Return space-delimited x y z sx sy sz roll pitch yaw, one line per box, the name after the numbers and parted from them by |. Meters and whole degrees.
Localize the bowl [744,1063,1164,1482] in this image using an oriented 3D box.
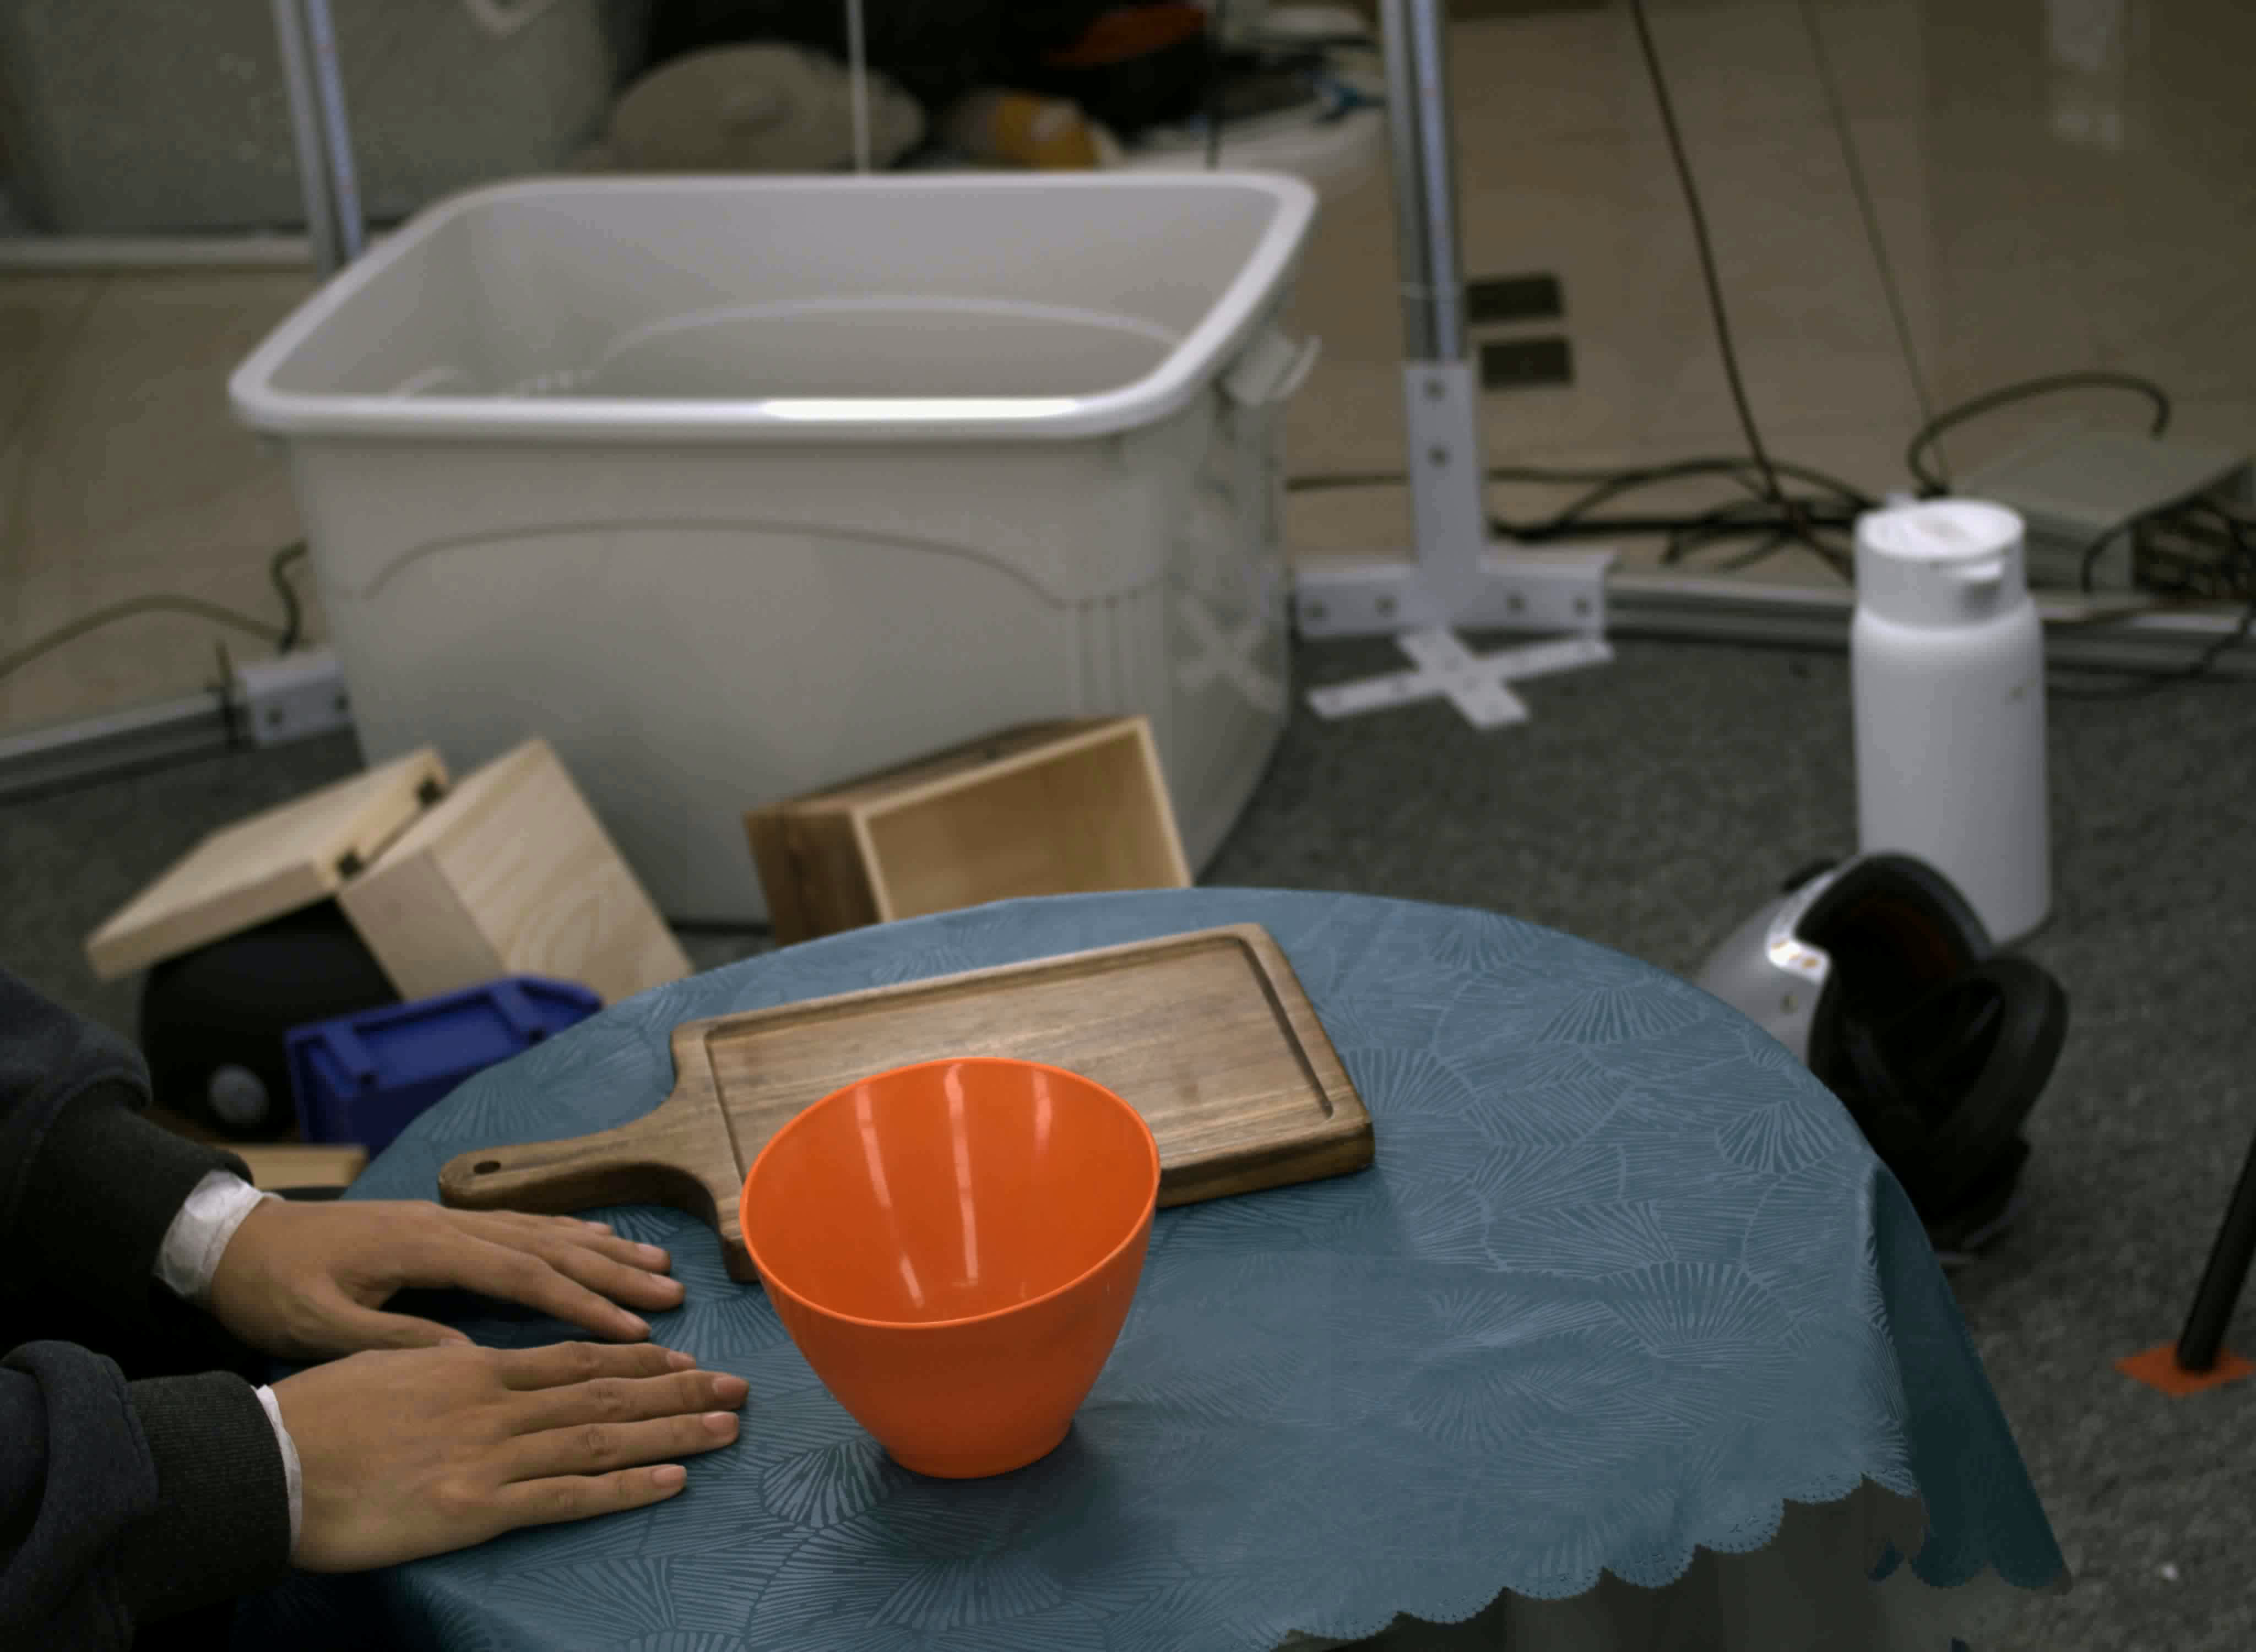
-0.057 0.163 1.989 0.148 0.106 0.146 -5 25 2 | bowl

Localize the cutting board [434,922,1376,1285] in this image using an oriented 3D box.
-0.094 0.113 2.202 0.351 0.023 0.198 -10 25 -7 | cutting board
